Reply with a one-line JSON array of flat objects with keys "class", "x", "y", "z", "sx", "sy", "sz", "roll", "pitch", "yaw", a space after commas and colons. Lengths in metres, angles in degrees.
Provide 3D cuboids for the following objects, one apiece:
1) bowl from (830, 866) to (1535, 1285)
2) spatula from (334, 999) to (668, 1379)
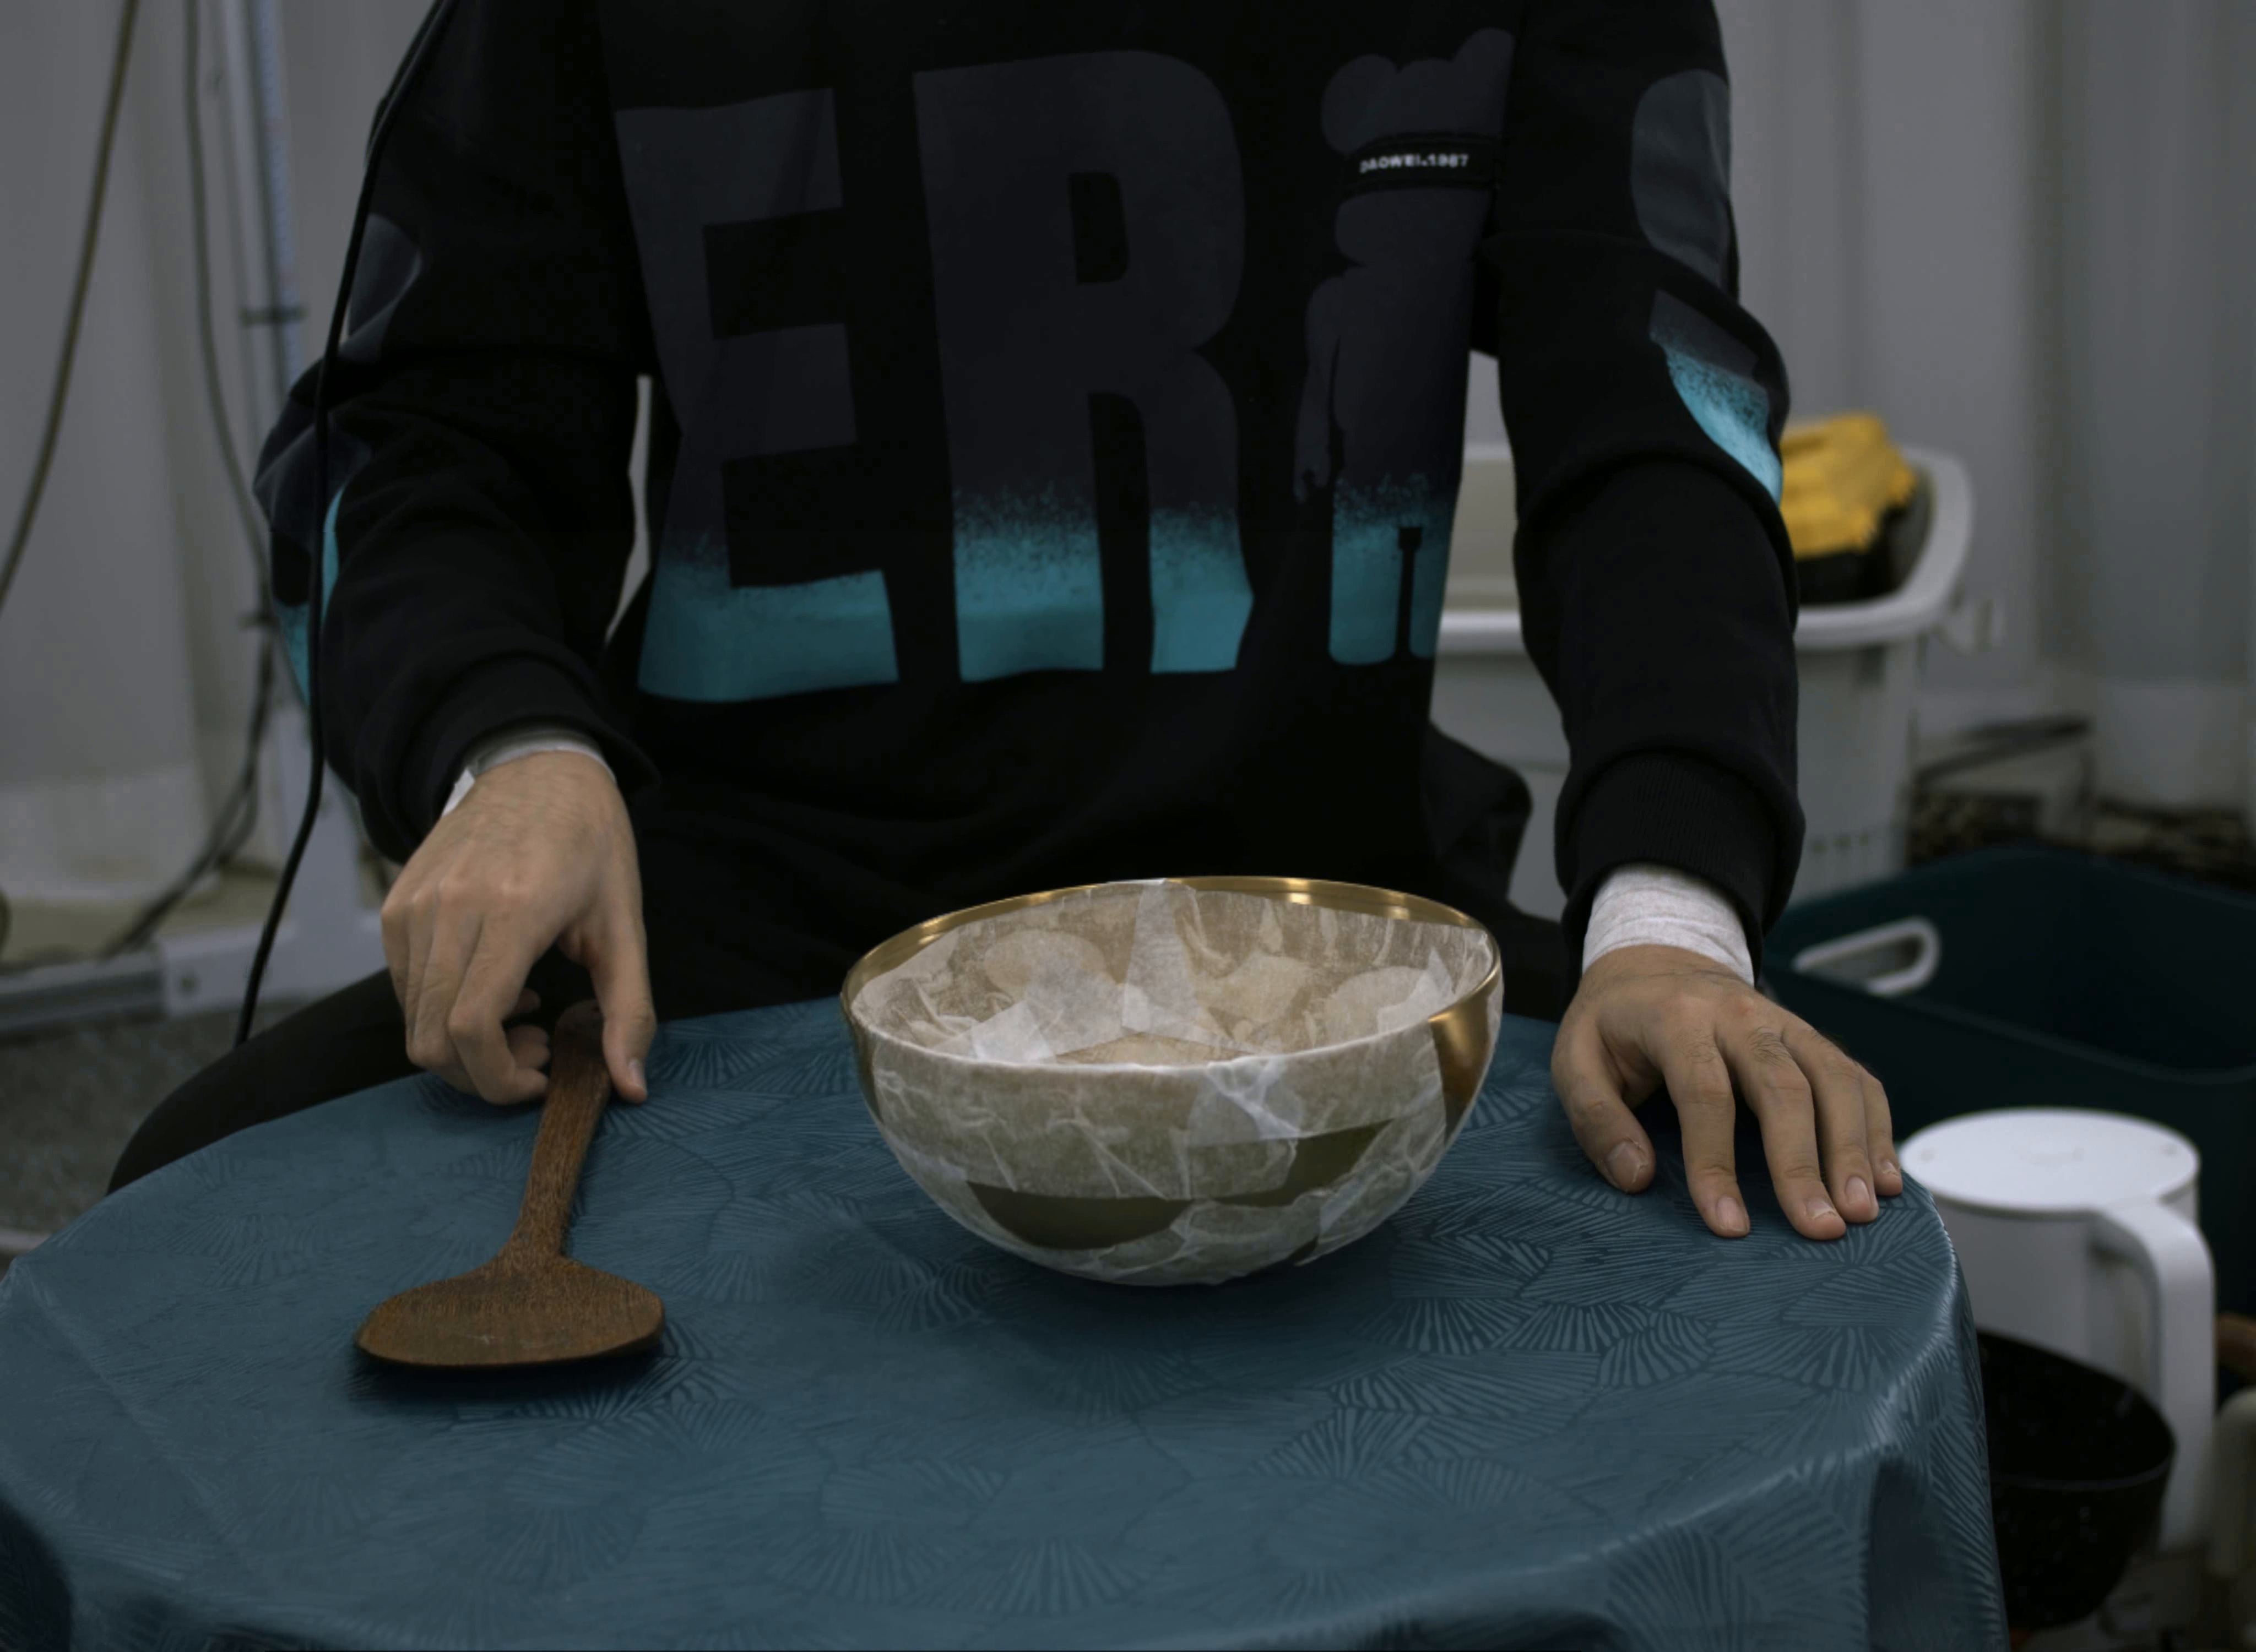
[{"class": "bowl", "x": 0.018, "y": 0.083, "z": 1.648, "sx": 0.214, "sy": 0.094, "sz": 0.216, "roll": -4, "pitch": 14, "yaw": 1}, {"class": "spatula", "x": -0.183, "y": 0.110, "z": 1.743, "sx": 0.096, "sy": 0.016, "sz": 0.388, "roll": -2, "pitch": 14, "yaw": 0}]
